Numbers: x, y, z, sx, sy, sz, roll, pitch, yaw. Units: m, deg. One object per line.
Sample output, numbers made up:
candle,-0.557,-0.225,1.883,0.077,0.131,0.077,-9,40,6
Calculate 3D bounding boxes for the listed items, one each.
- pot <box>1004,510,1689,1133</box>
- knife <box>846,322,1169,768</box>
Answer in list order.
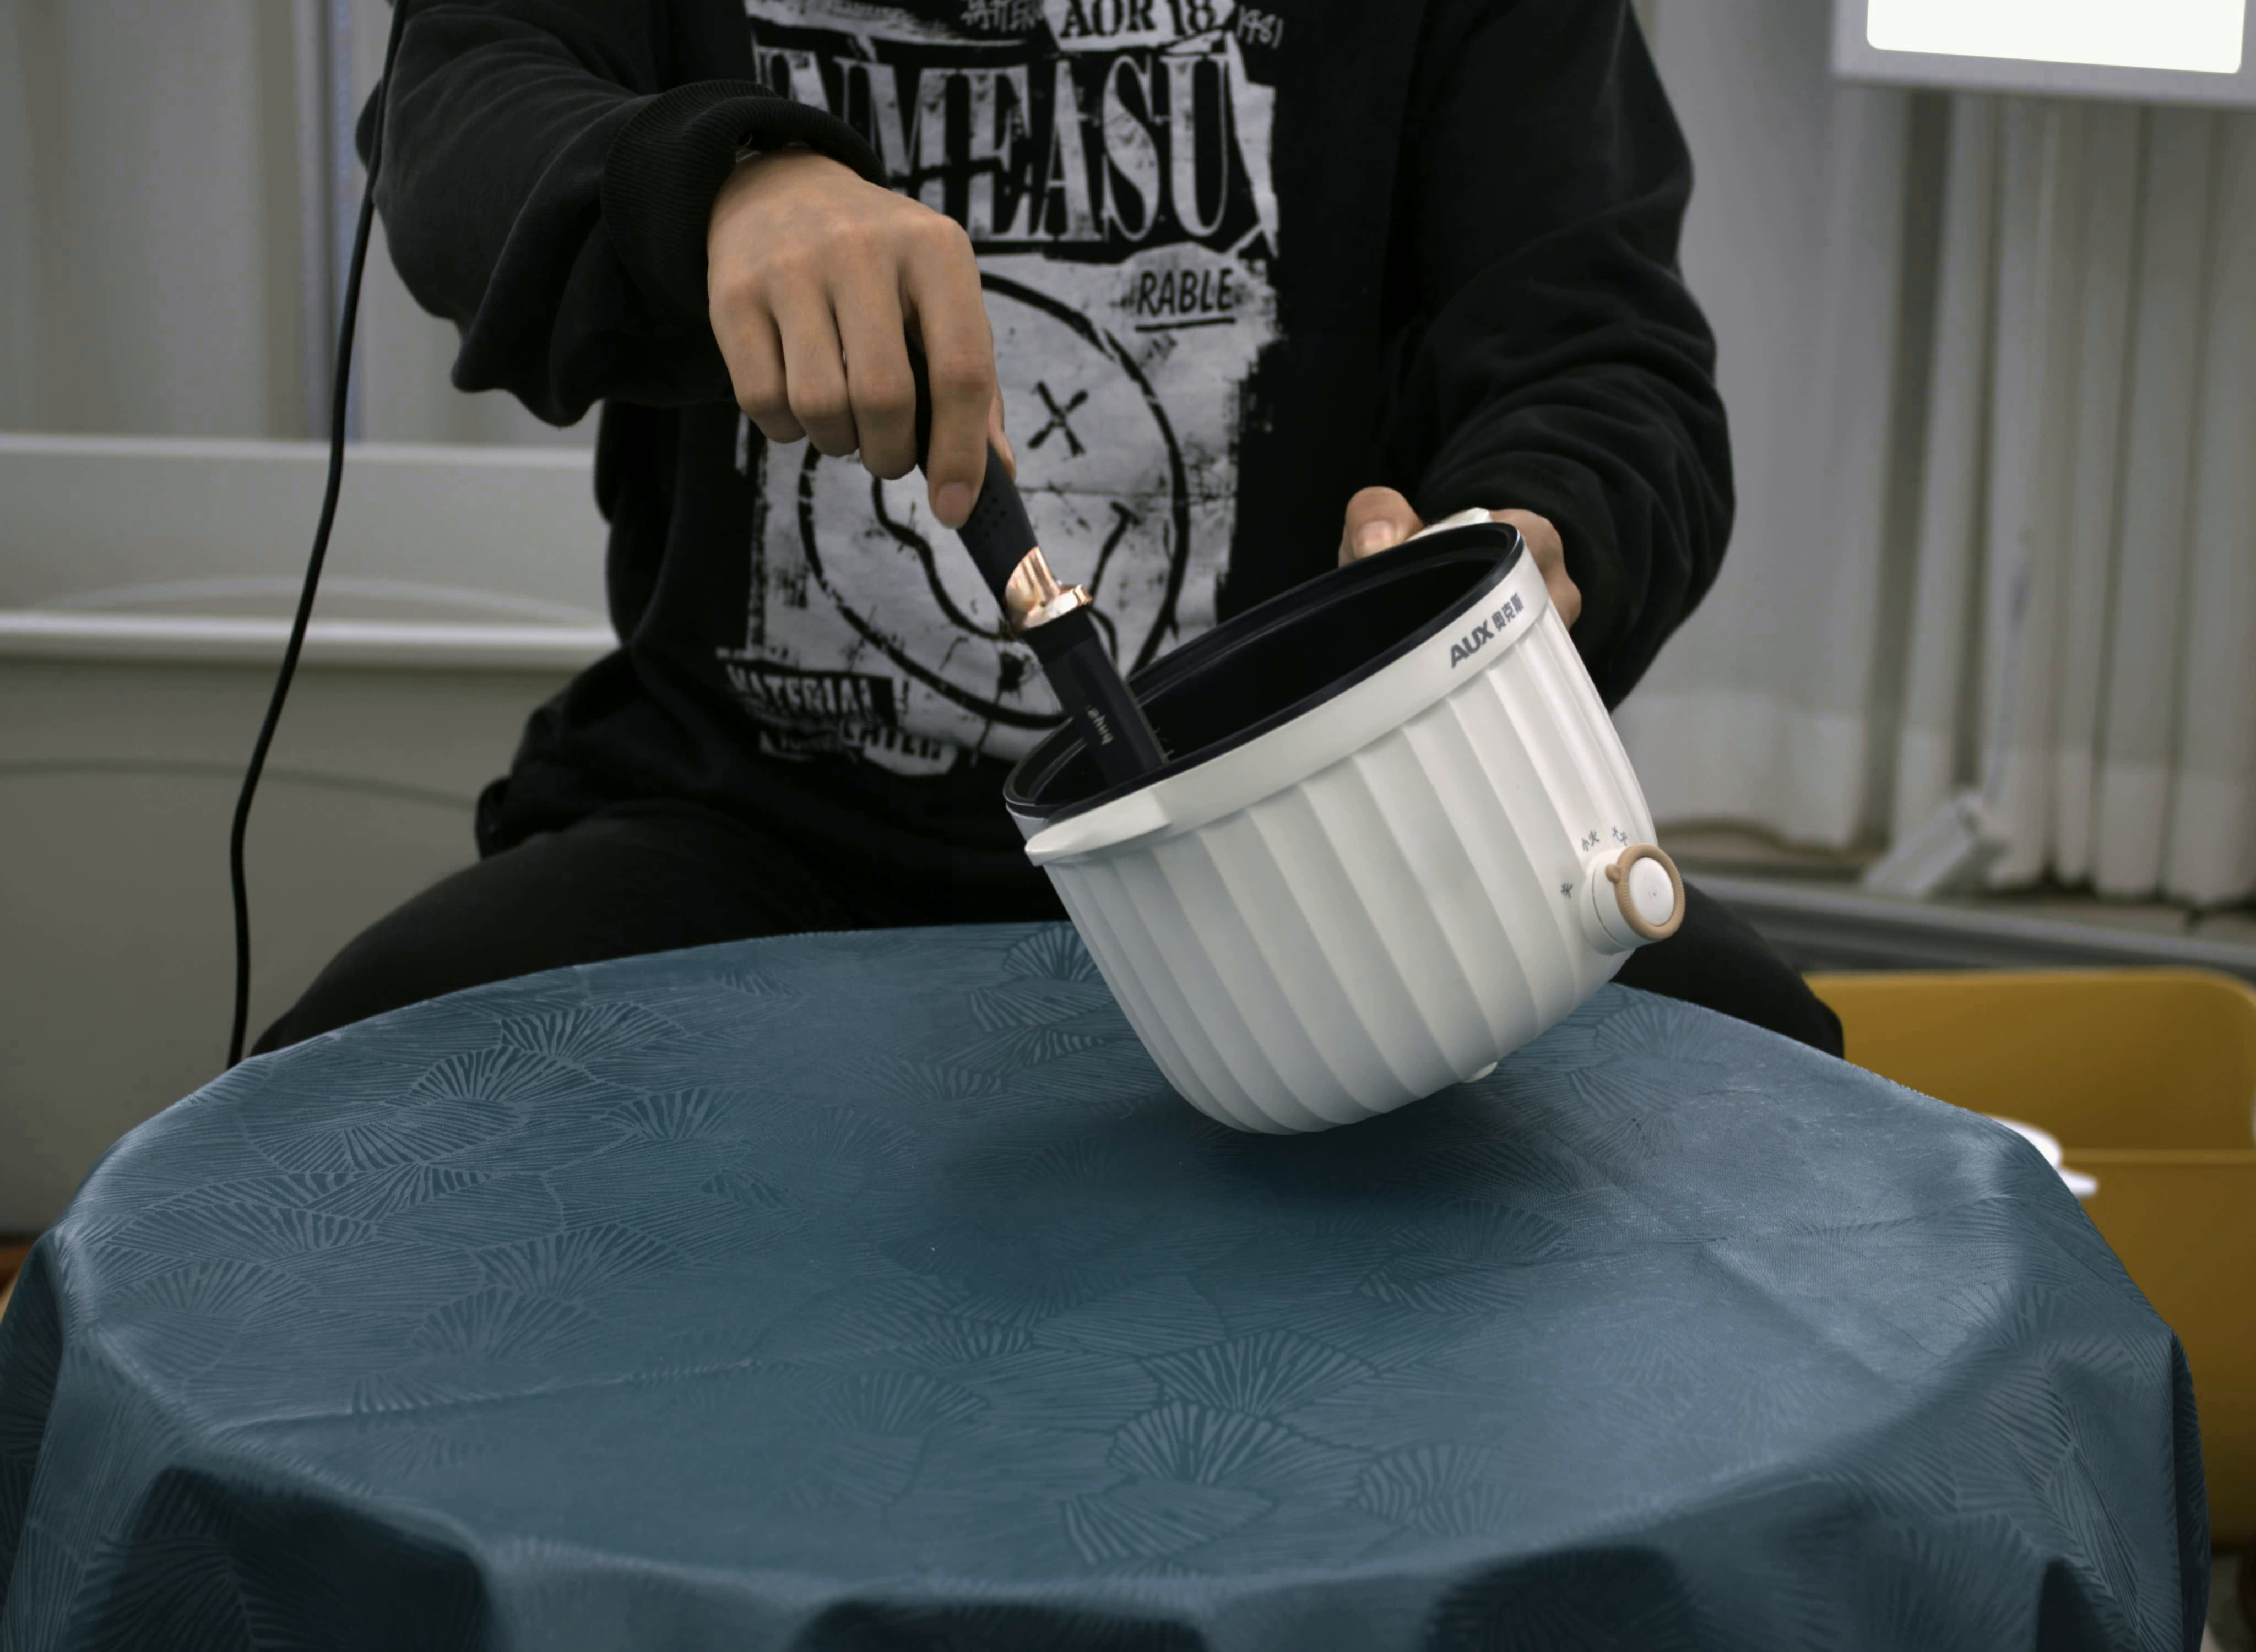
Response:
pot,0.076,0.004,1.648,0.189,0.143,0.240,-21,14,44
knife,-0.022,-0.059,1.609,0.026,0.225,0.017,-31,-3,-1
